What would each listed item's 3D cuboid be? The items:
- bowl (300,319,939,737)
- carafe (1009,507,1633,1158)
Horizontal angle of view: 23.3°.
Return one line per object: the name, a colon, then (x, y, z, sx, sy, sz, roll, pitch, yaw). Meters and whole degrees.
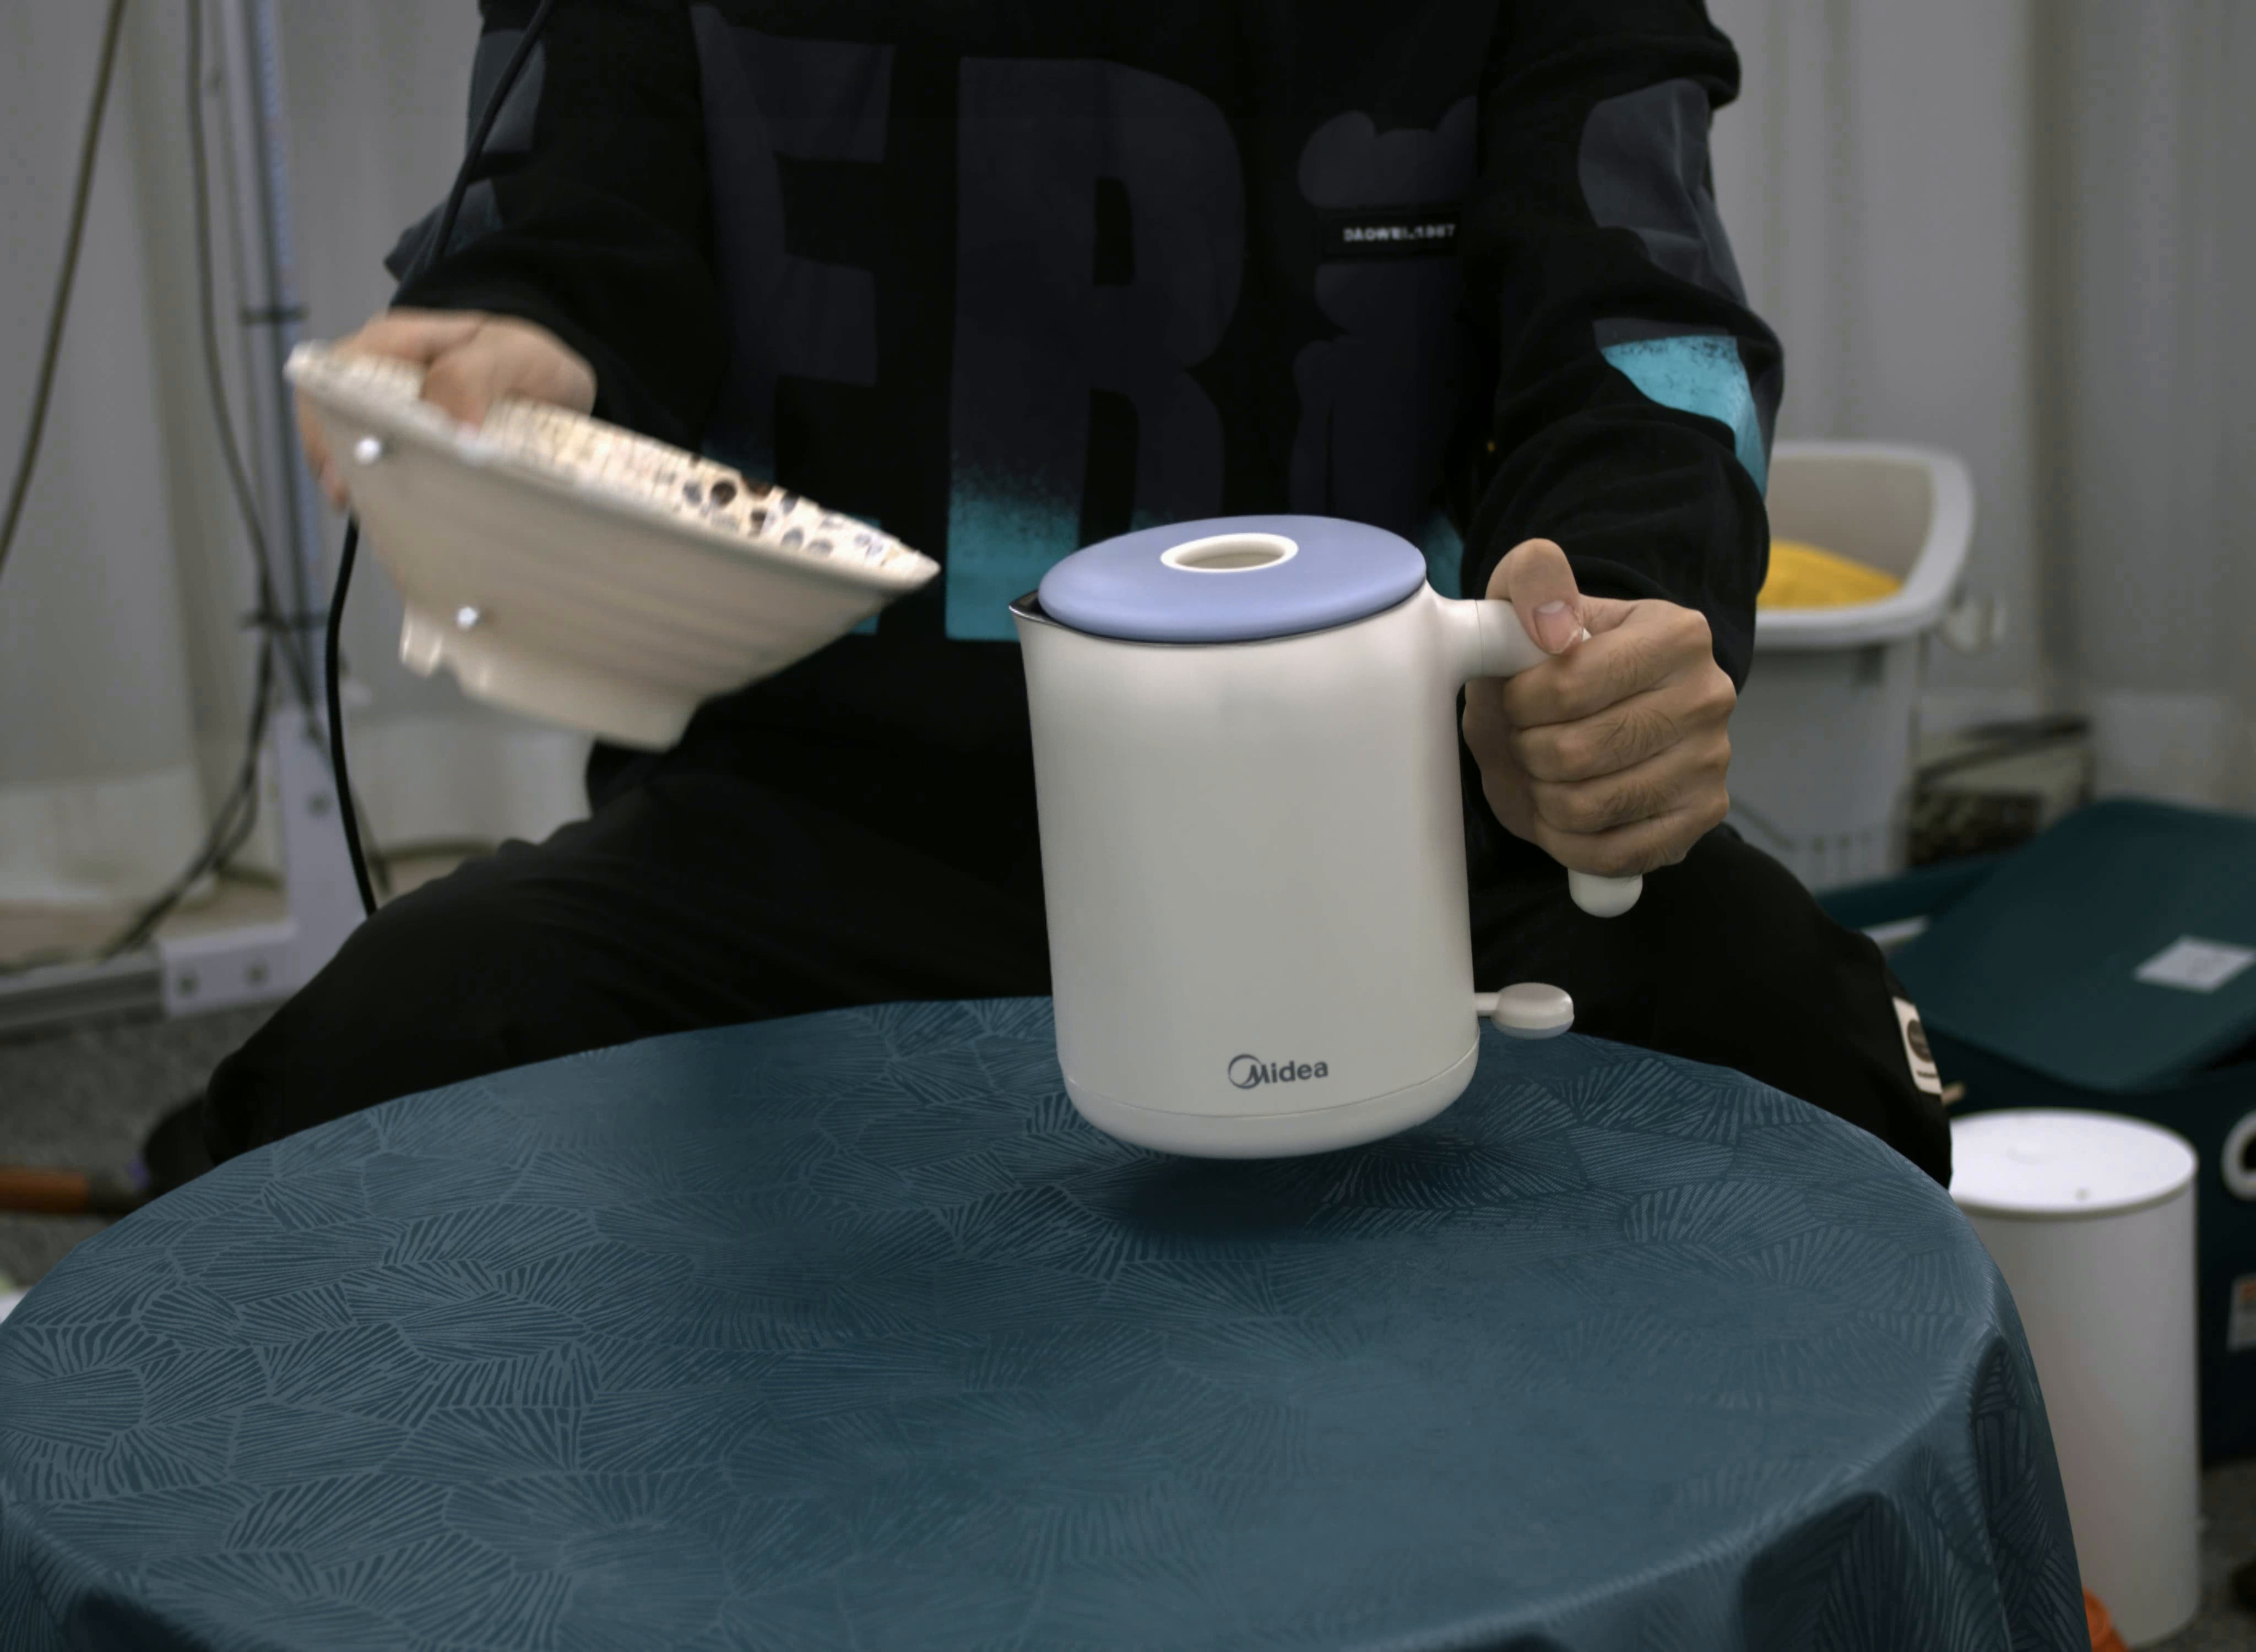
bowl: (-0.163, -0.077, 1.626, 0.203, 0.078, 0.204, 21, 1, -1)
carafe: (0.061, 0.000, 1.686, 0.190, 0.181, 0.133, -3, 18, -3)
